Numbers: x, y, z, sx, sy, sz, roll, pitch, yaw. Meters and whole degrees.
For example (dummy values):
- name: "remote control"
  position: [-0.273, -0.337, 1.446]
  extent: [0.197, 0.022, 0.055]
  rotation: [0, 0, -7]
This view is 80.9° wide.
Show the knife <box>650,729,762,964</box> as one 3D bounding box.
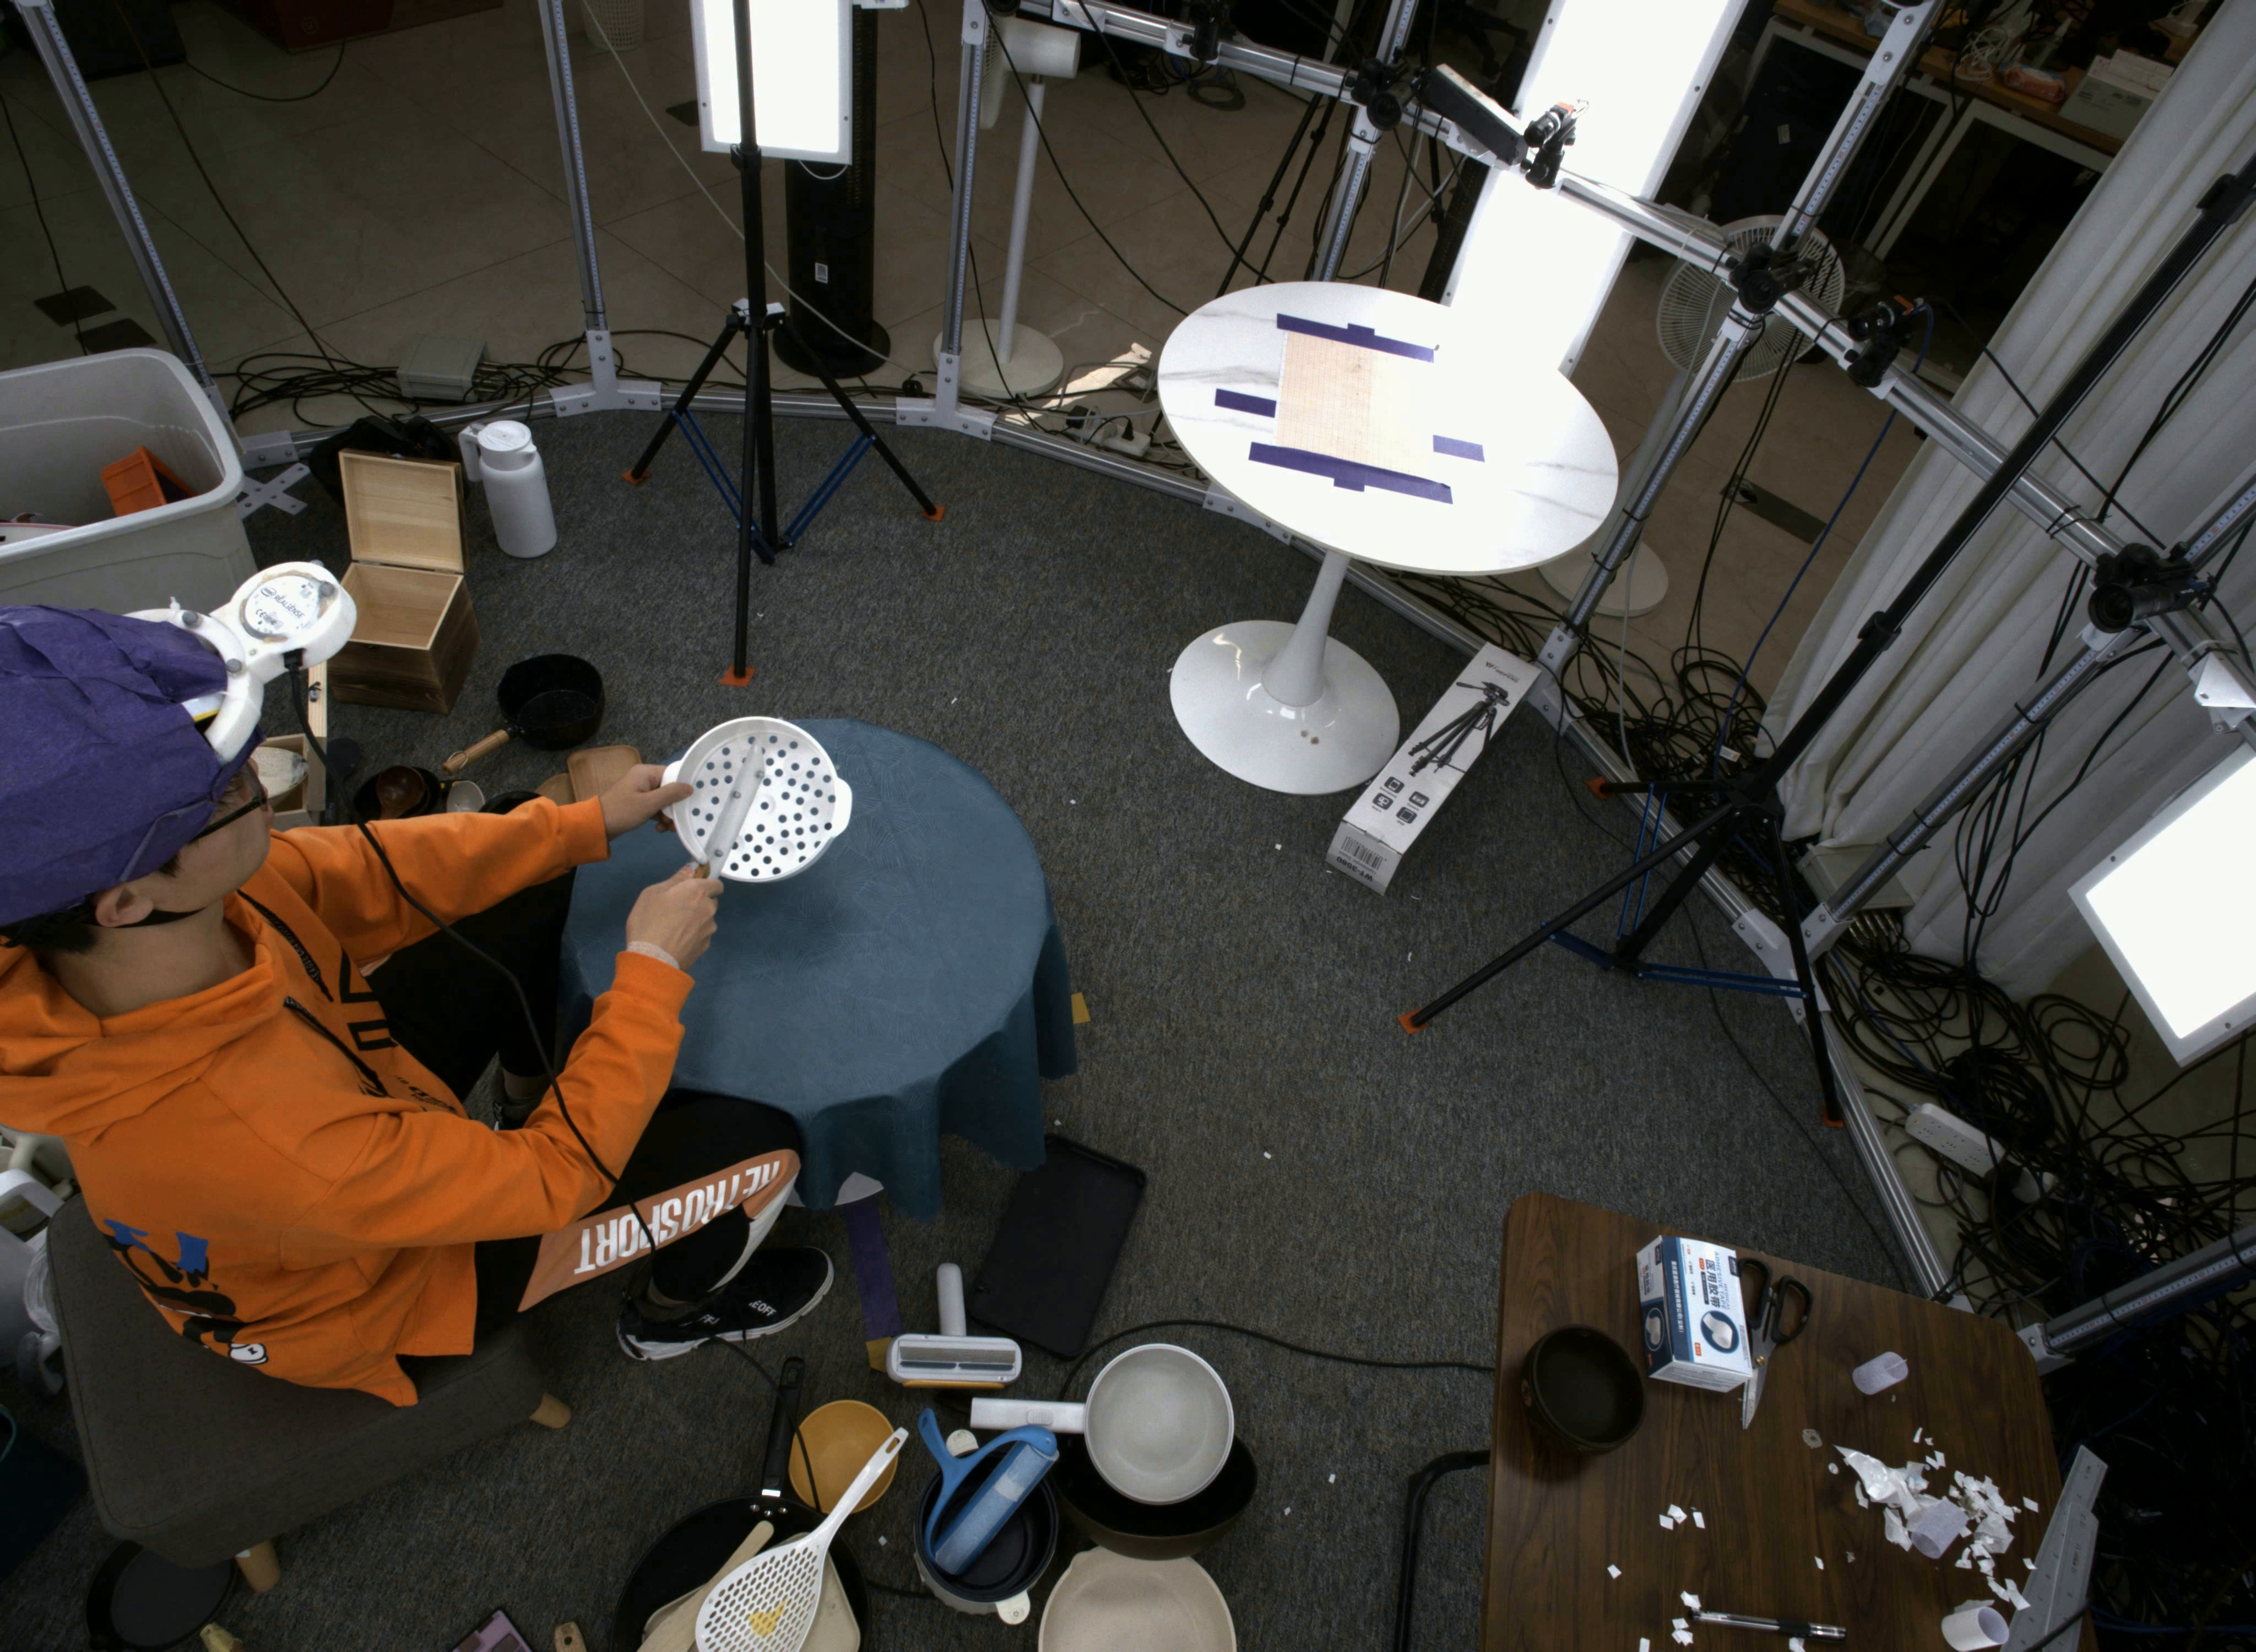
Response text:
- name: "knife"
  position: [-0.472, 0.029, 1.464]
  extent: [0.021, 0.094, 0.302]
  rotation: [14, 57, -1]

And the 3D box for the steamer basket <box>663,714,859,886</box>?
- name: "steamer basket"
  position: [-0.442, -0.030, 1.571]
  extent: [0.231, 0.069, 0.203]
  rotation: [6, 83, -12]
